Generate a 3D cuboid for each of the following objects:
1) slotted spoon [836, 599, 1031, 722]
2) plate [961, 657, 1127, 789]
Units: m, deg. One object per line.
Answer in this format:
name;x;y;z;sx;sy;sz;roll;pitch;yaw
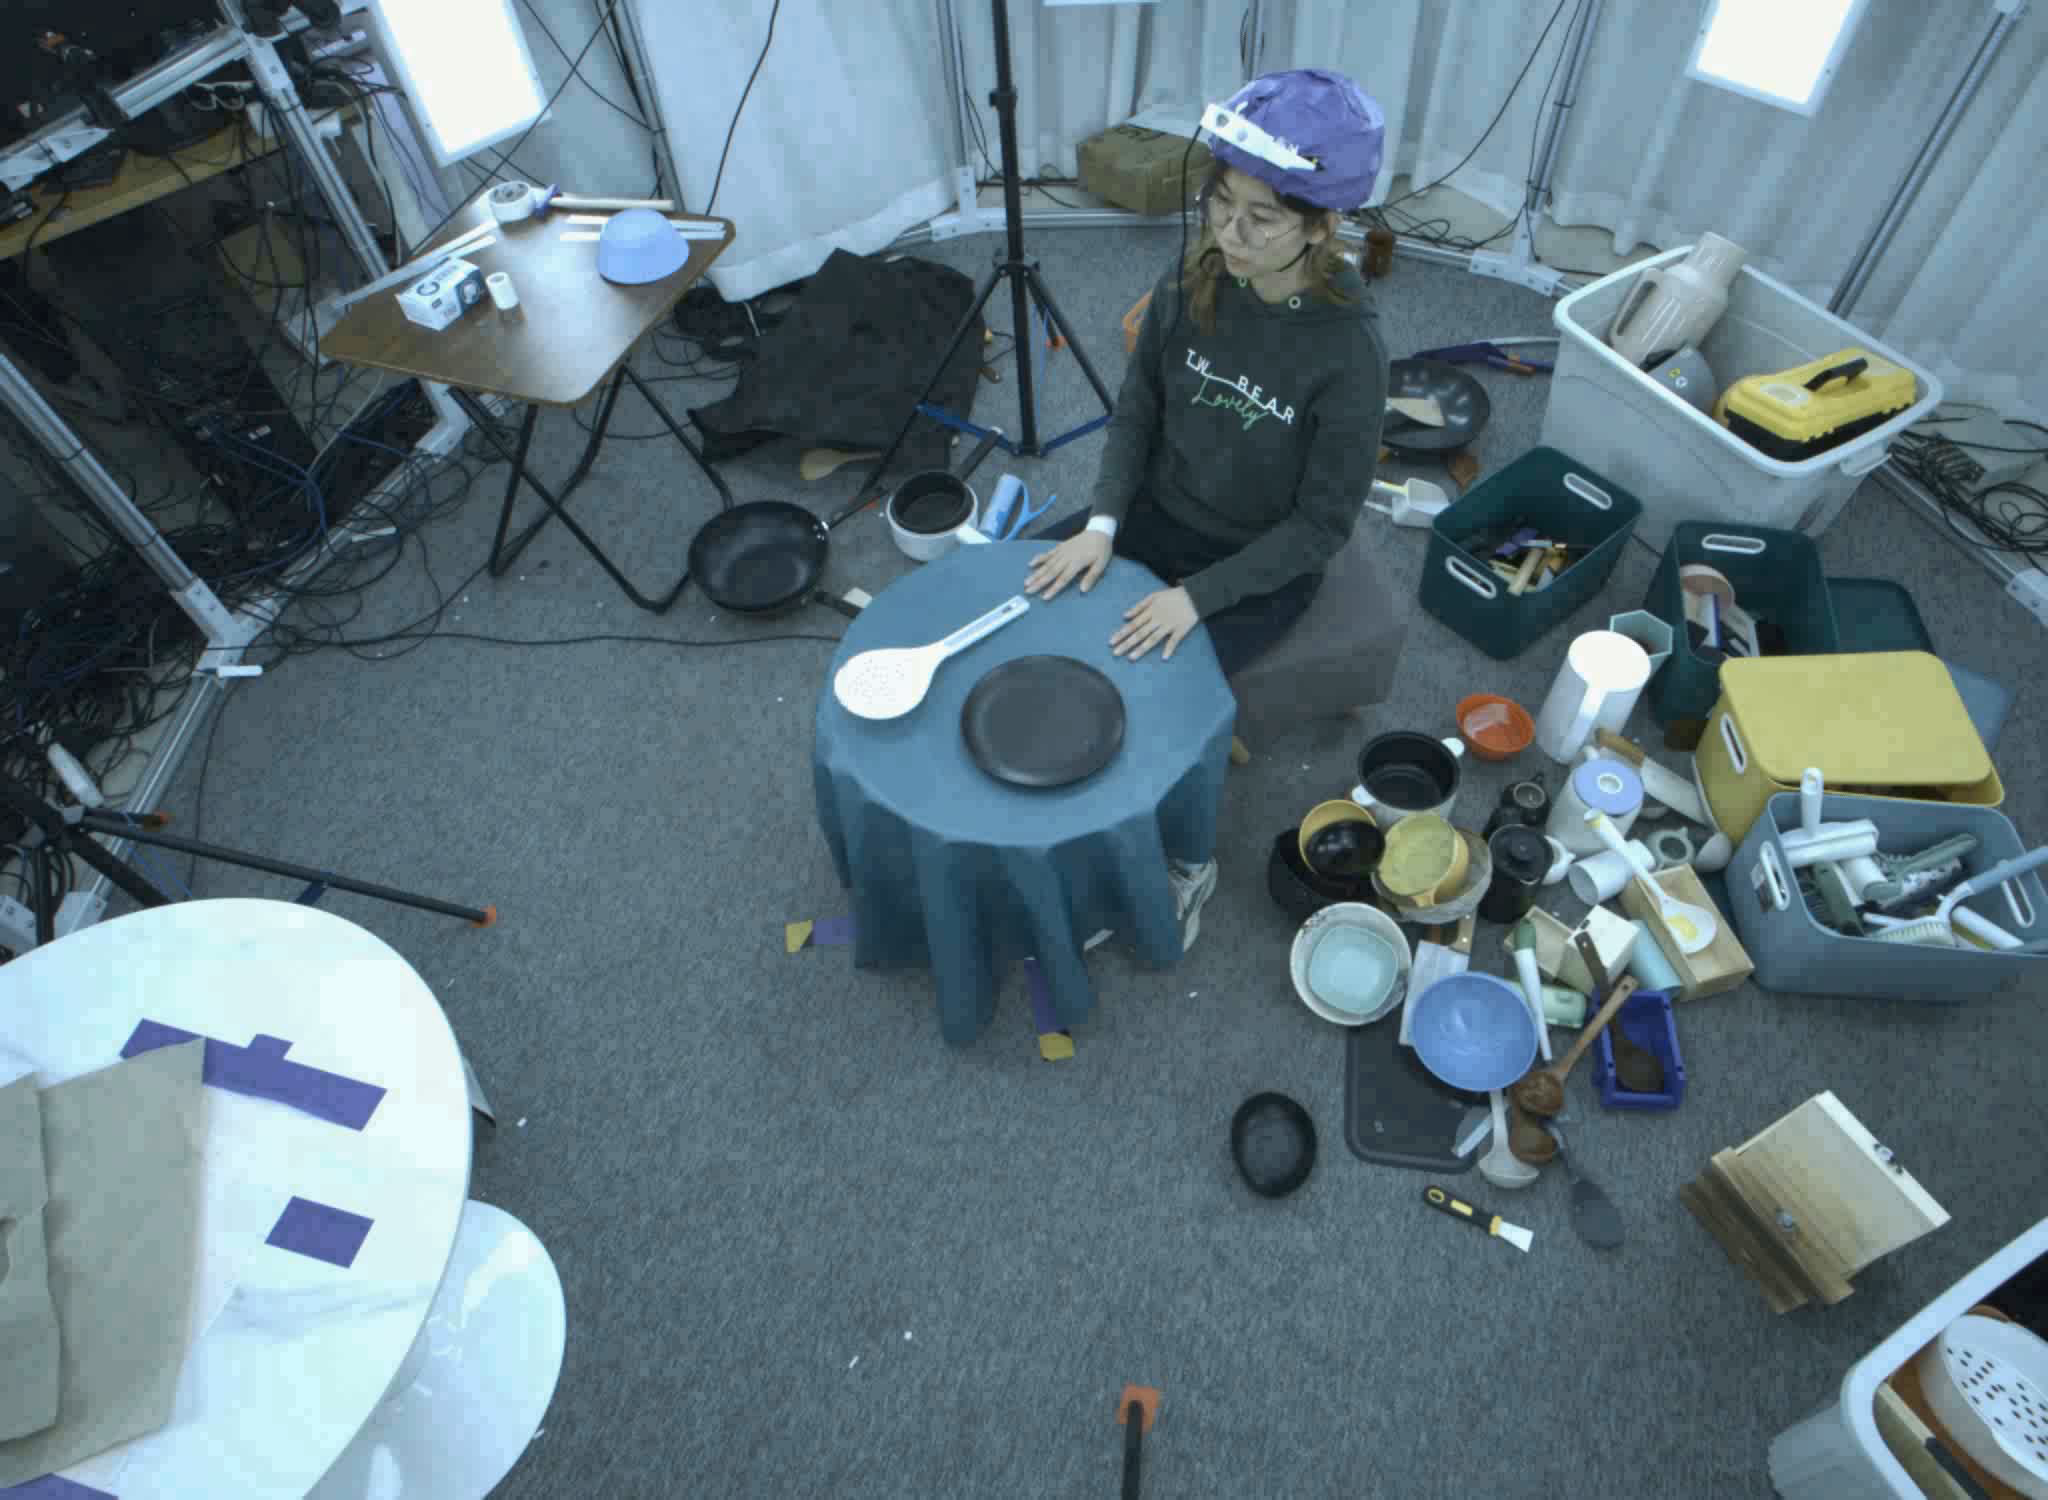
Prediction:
slotted spoon;-0.130;-0.145;1.875;0.352;0.046;0.133;-36;63;-22
plate;0.030;-0.038;1.809;0.244;0.024;0.242;0;55;2
